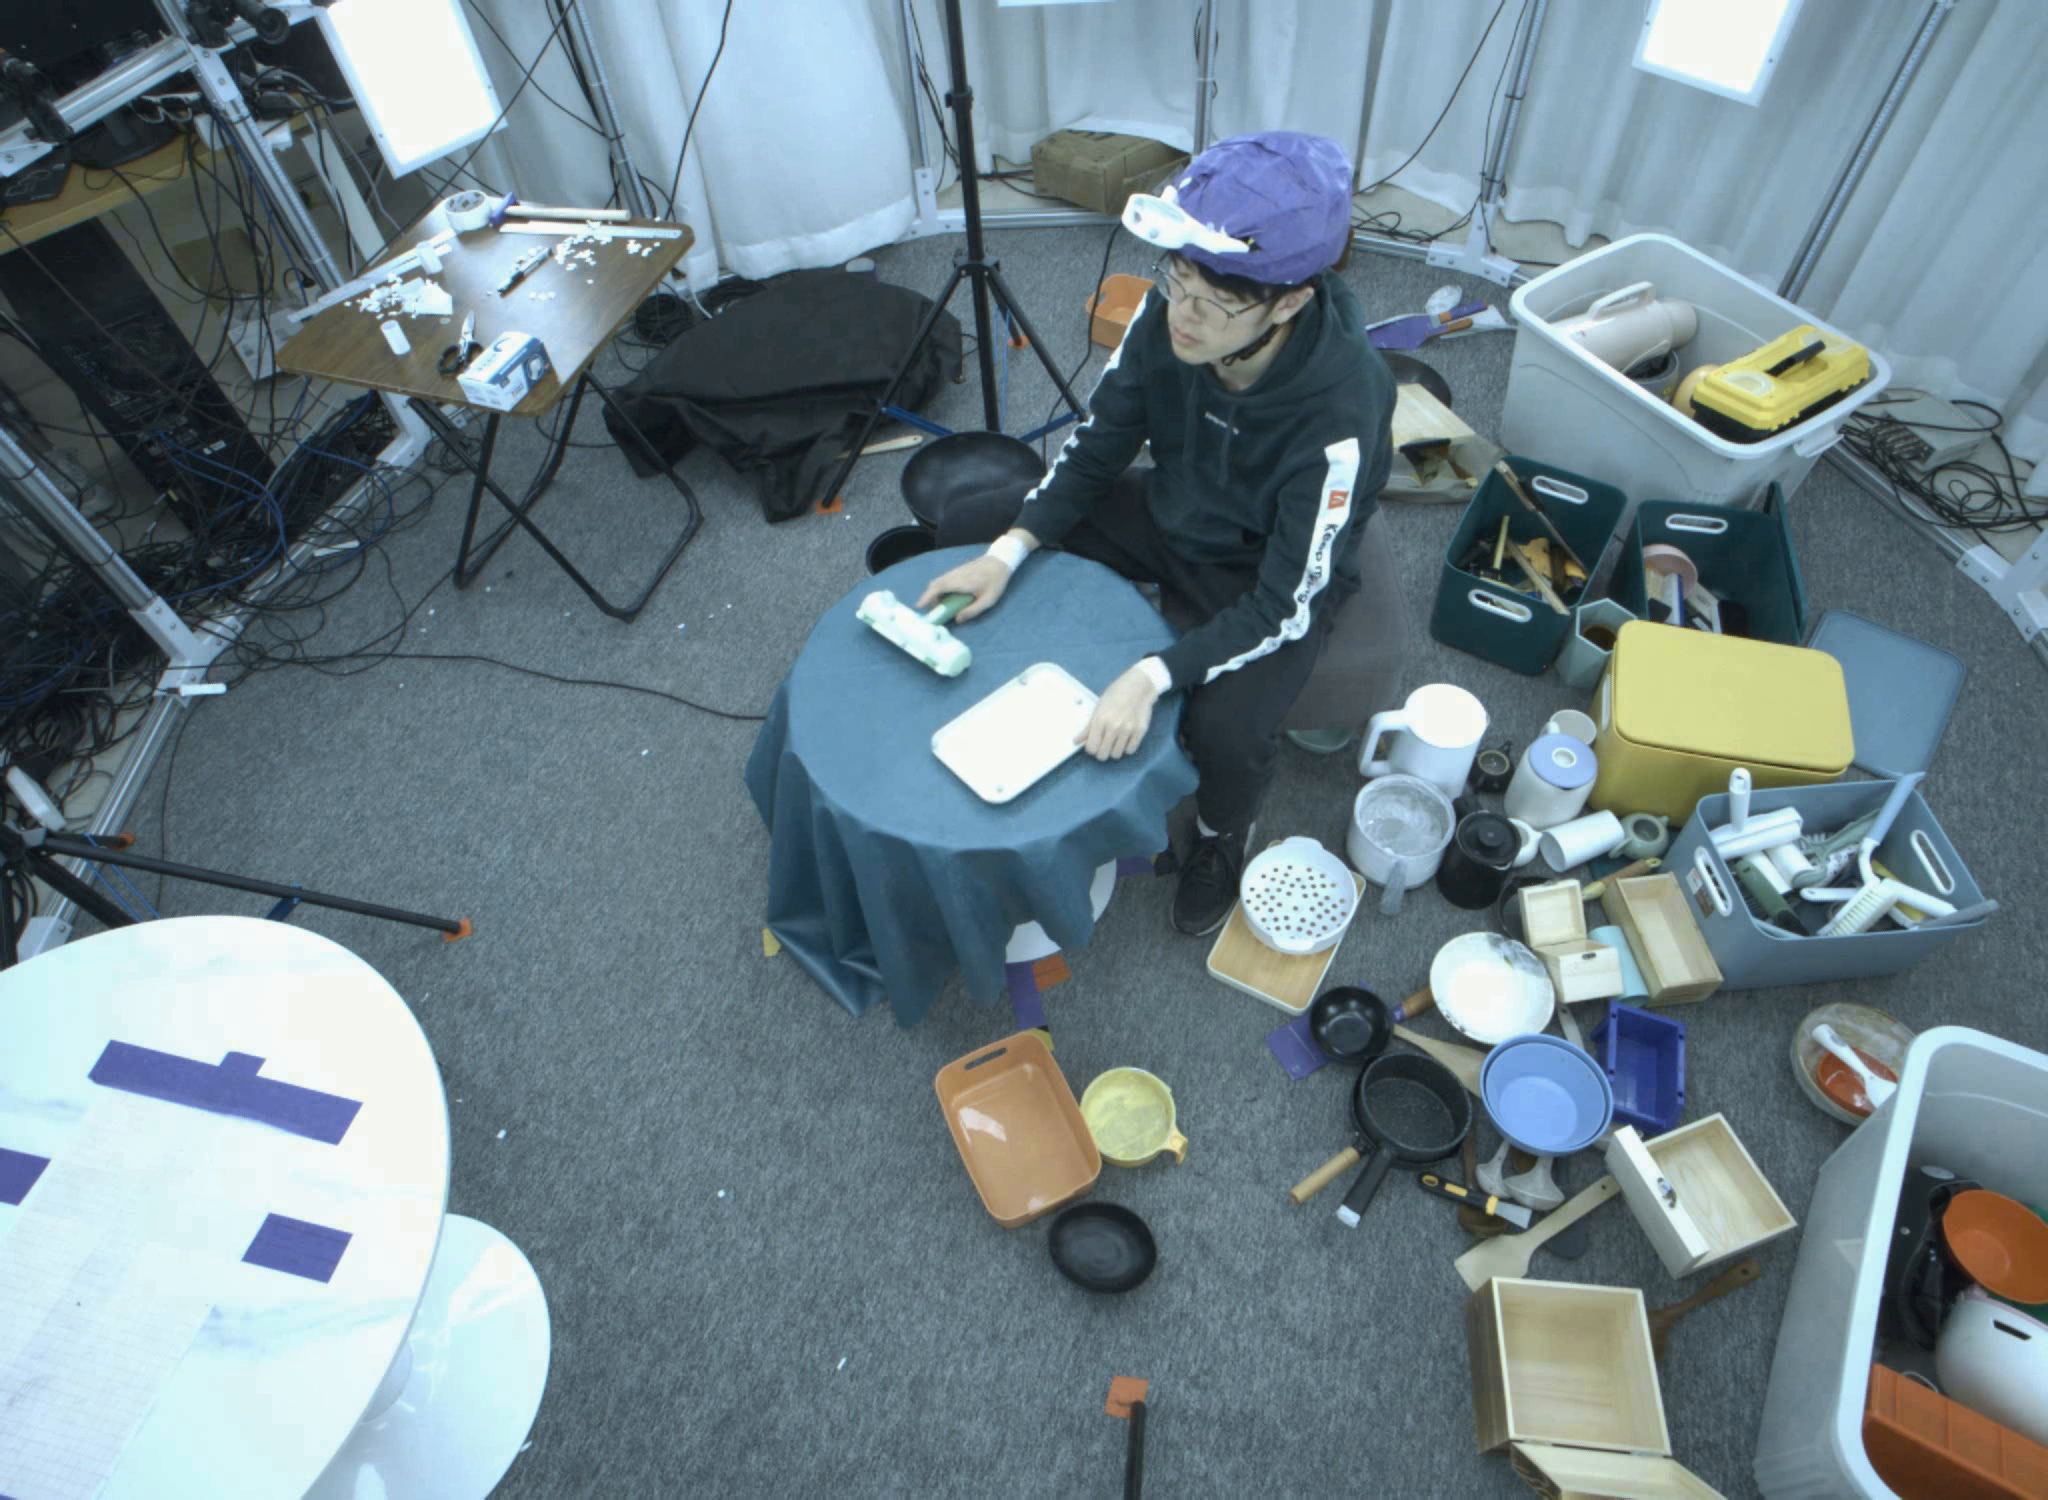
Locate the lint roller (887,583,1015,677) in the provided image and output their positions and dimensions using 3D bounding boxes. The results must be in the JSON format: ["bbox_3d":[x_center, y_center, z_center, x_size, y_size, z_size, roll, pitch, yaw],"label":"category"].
[{"bbox_3d":[-0.085,-0.219,1.893,0.195,0.083,0.184,36,68,25],"label":"lint roller"}]

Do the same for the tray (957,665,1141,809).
[{"bbox_3d":[0.037,-0.020,1.780,0.241,0.018,0.168,-35,59,-20],"label":"tray"}]
